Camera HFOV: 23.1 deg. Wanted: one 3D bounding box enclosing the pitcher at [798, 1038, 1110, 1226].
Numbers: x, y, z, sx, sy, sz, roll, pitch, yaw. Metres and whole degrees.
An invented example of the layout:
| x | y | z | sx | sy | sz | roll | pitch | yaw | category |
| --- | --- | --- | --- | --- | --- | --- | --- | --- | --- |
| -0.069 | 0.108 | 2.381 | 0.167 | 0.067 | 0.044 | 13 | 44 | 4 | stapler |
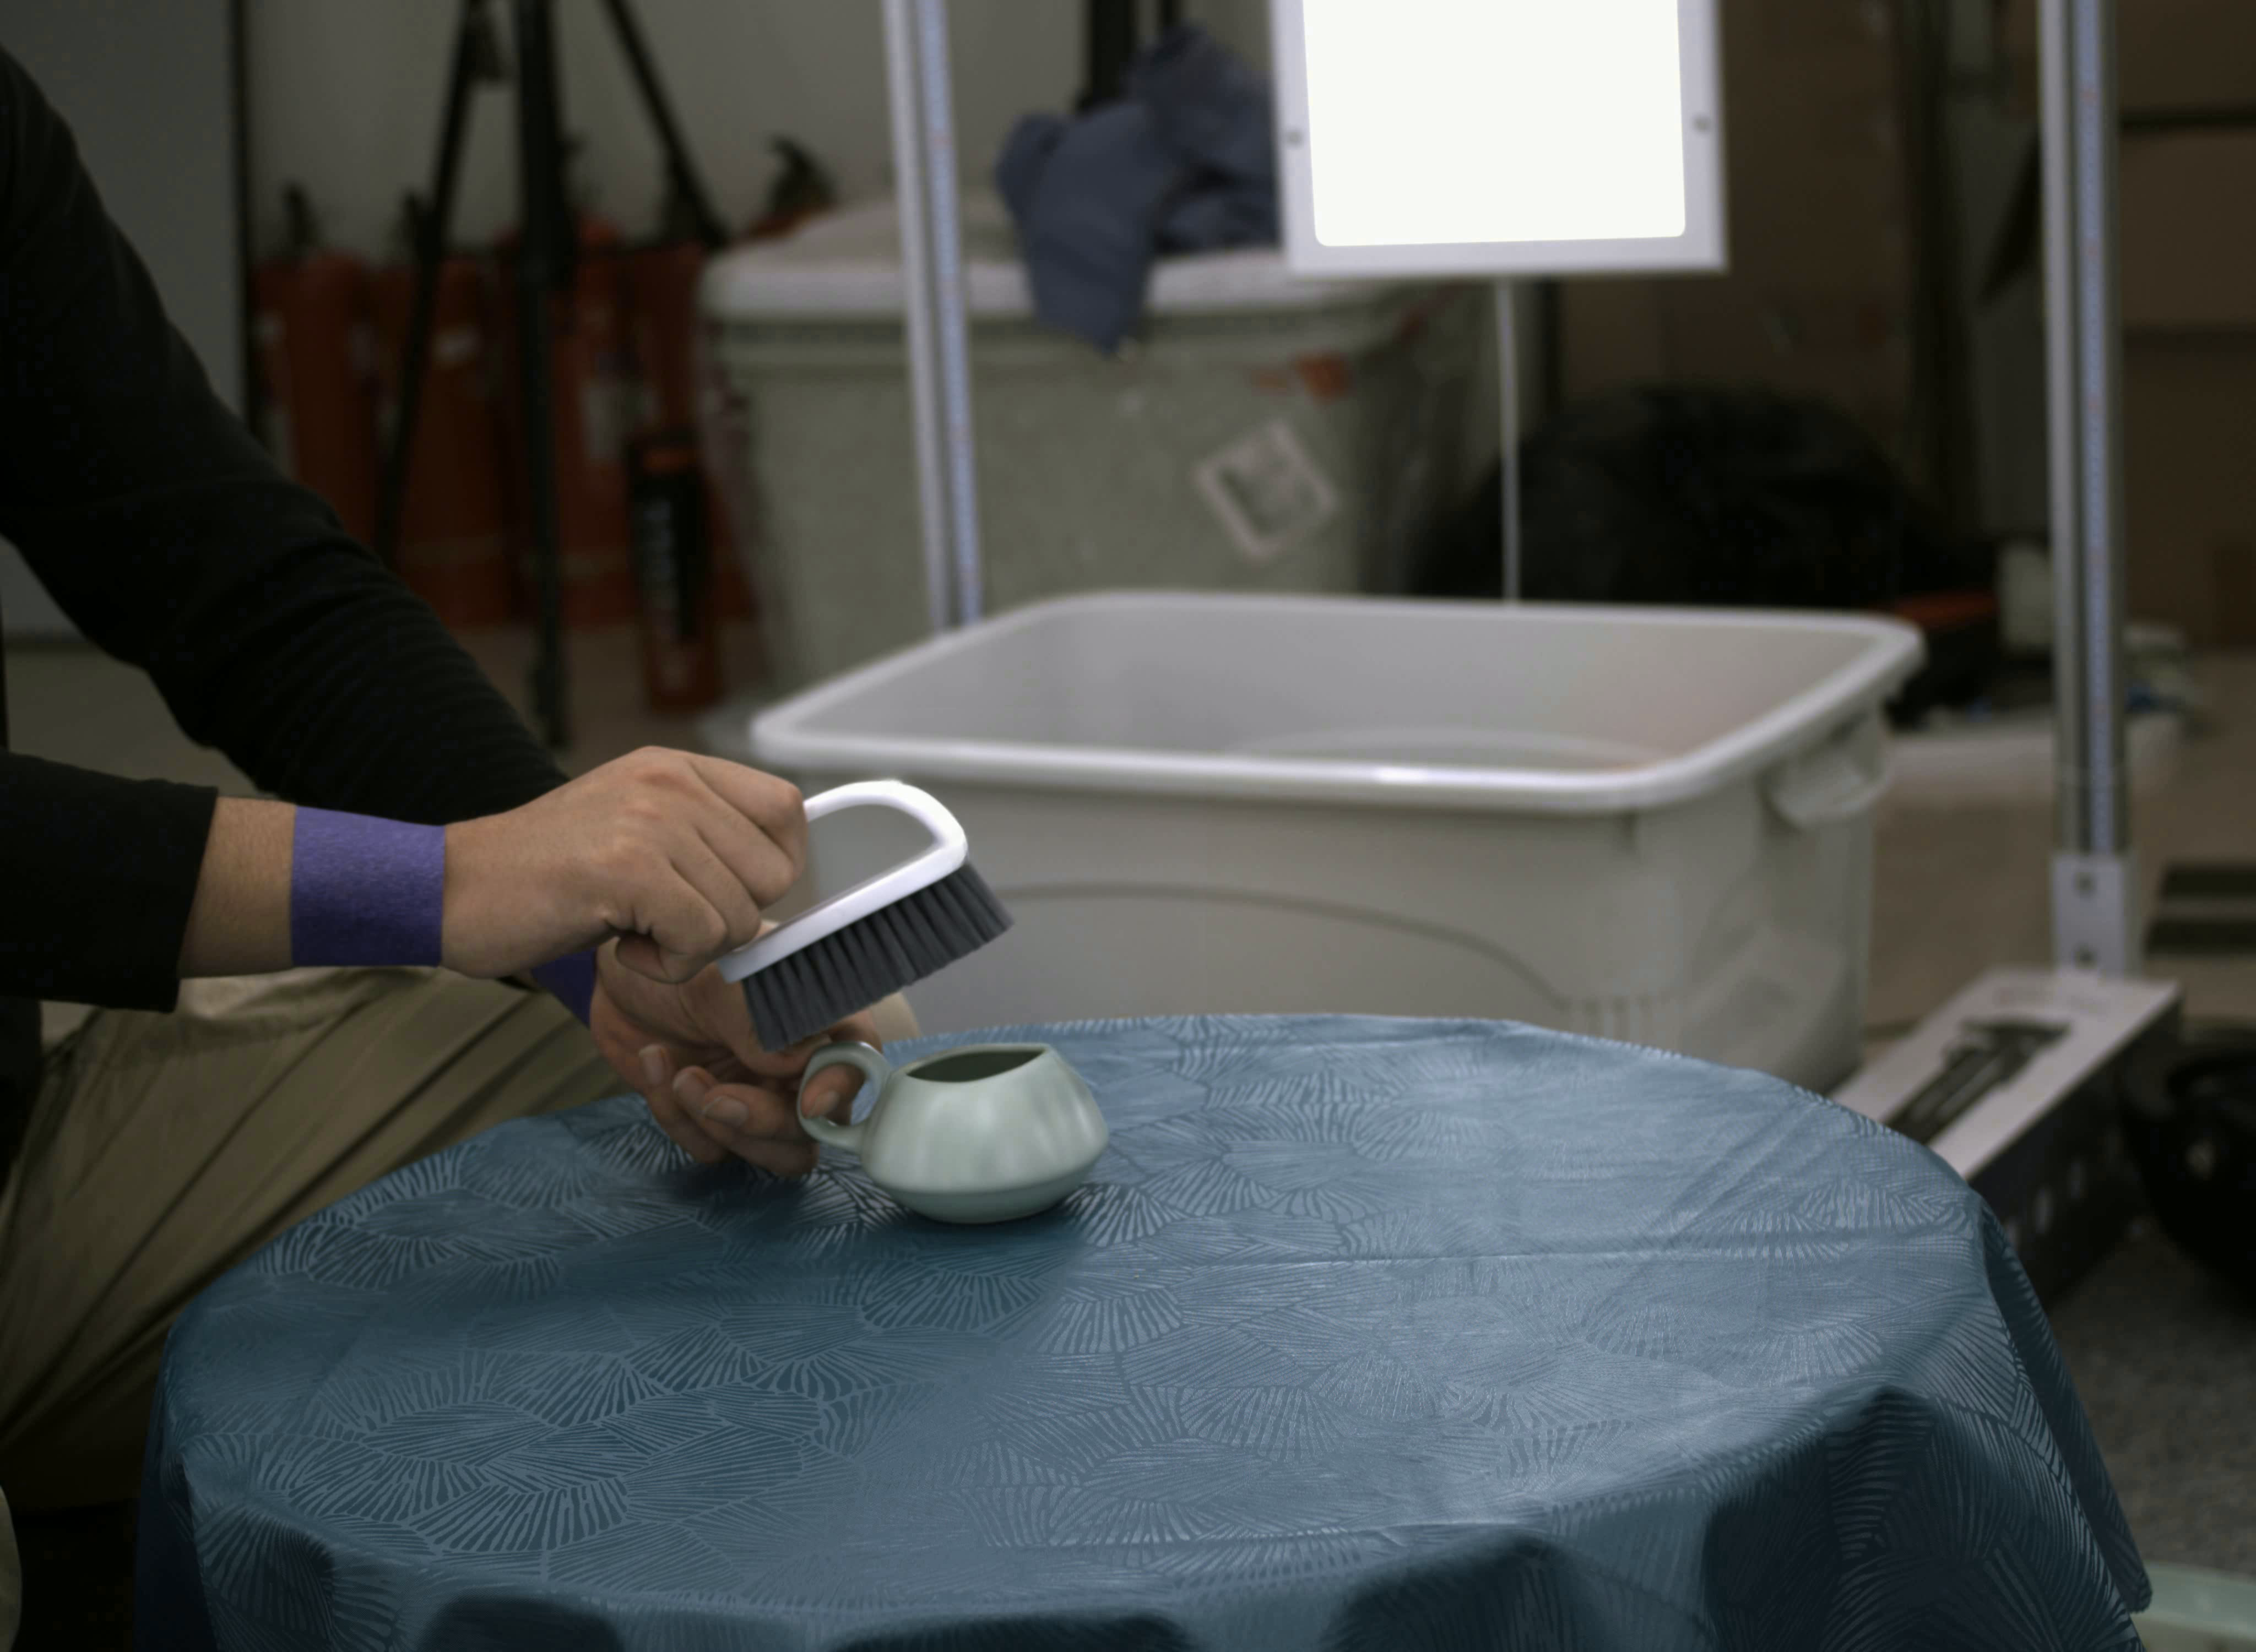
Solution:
| x | y | z | sx | sy | sz | roll | pitch | yaw | category |
| --- | --- | --- | --- | --- | --- | --- | --- | --- | --- |
| -0.061 | 0.104 | 1.894 | 0.109 | 0.060 | 0.085 | -5 | 13 | 13 | pitcher |

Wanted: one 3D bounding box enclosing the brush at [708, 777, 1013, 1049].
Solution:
| x | y | z | sx | sy | sz | roll | pitch | yaw | category |
| --- | --- | --- | --- | --- | --- | --- | --- | --- | --- |
| -0.098 | 0.024 | 1.896 | 0.100 | 0.072 | 0.050 | -26 | 4 | 12 | brush |
